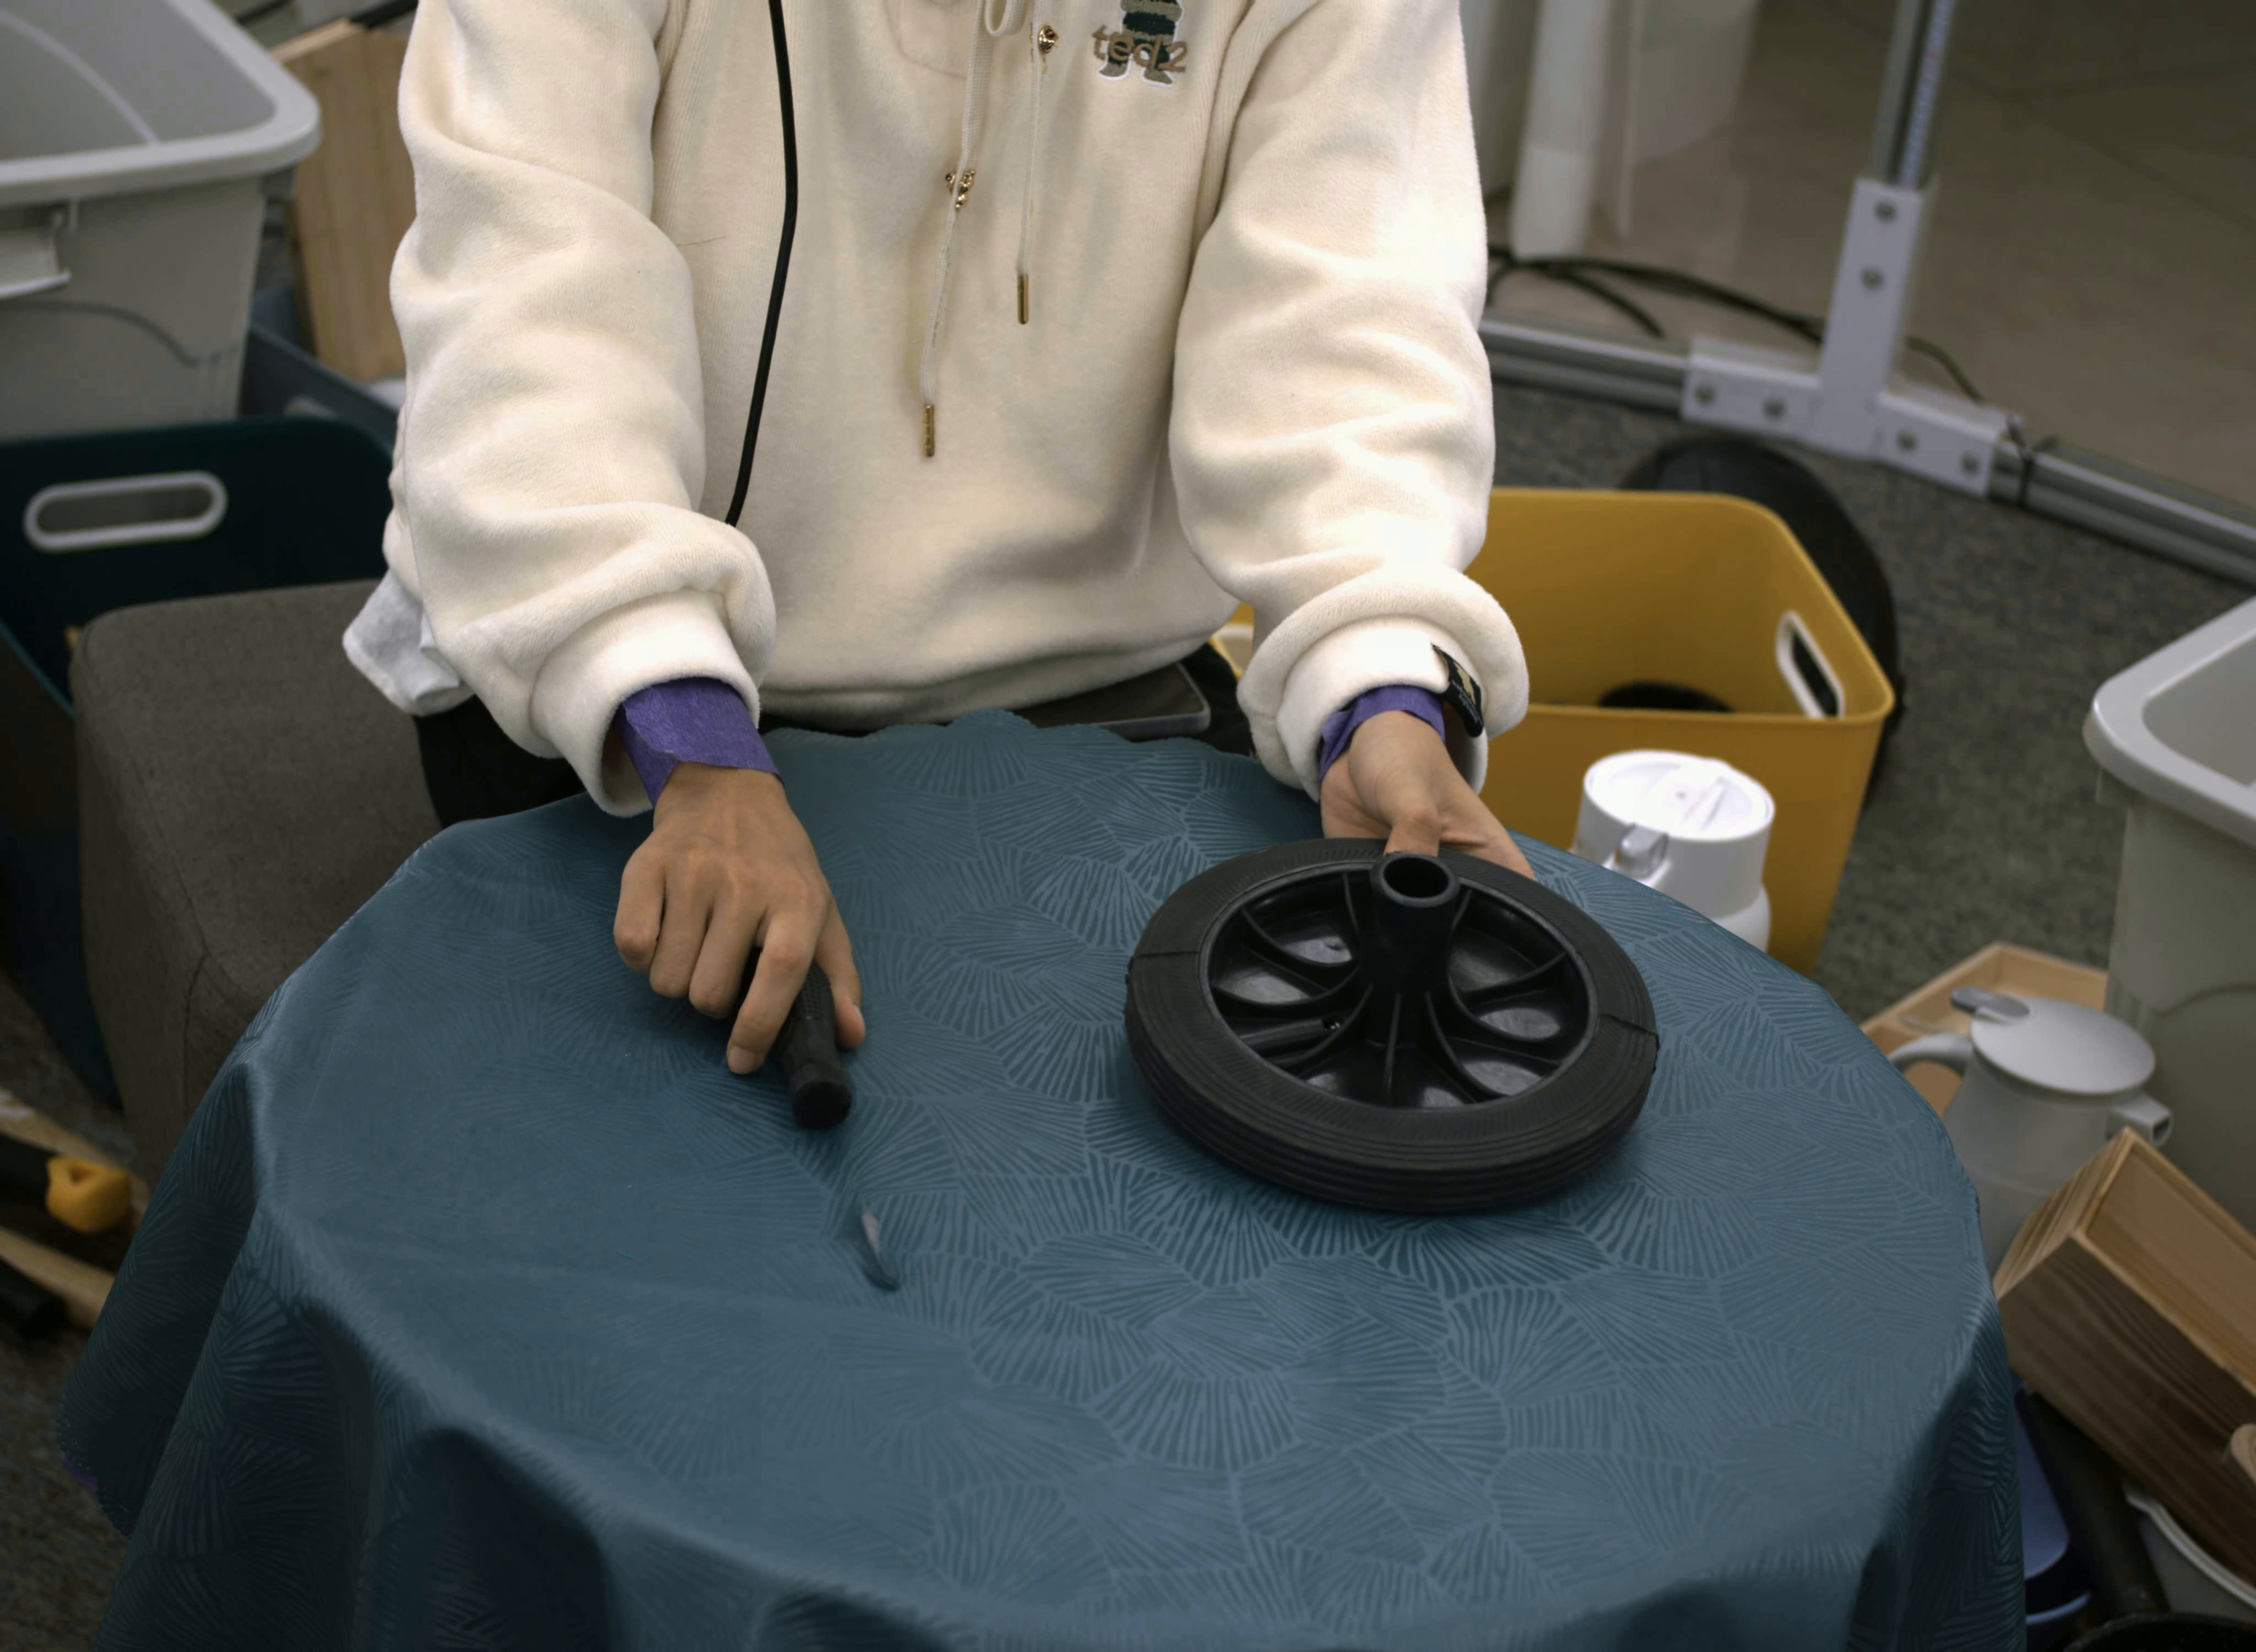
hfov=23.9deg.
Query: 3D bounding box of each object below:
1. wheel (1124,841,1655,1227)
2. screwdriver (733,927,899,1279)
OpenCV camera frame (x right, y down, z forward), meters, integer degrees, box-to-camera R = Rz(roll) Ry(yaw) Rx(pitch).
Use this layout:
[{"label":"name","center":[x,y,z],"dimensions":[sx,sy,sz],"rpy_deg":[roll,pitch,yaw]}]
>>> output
[{"label":"wheel","center":[0.093,0.055,1.860],"dimensions":[0.189,0.079,0.189],"rpy_deg":[32,46,30]},{"label":"screwdriver","center":[-0.107,0.094,1.808],"dimensions":[0.031,0.031,0.199],"rpy_deg":[0,30,-15]}]
